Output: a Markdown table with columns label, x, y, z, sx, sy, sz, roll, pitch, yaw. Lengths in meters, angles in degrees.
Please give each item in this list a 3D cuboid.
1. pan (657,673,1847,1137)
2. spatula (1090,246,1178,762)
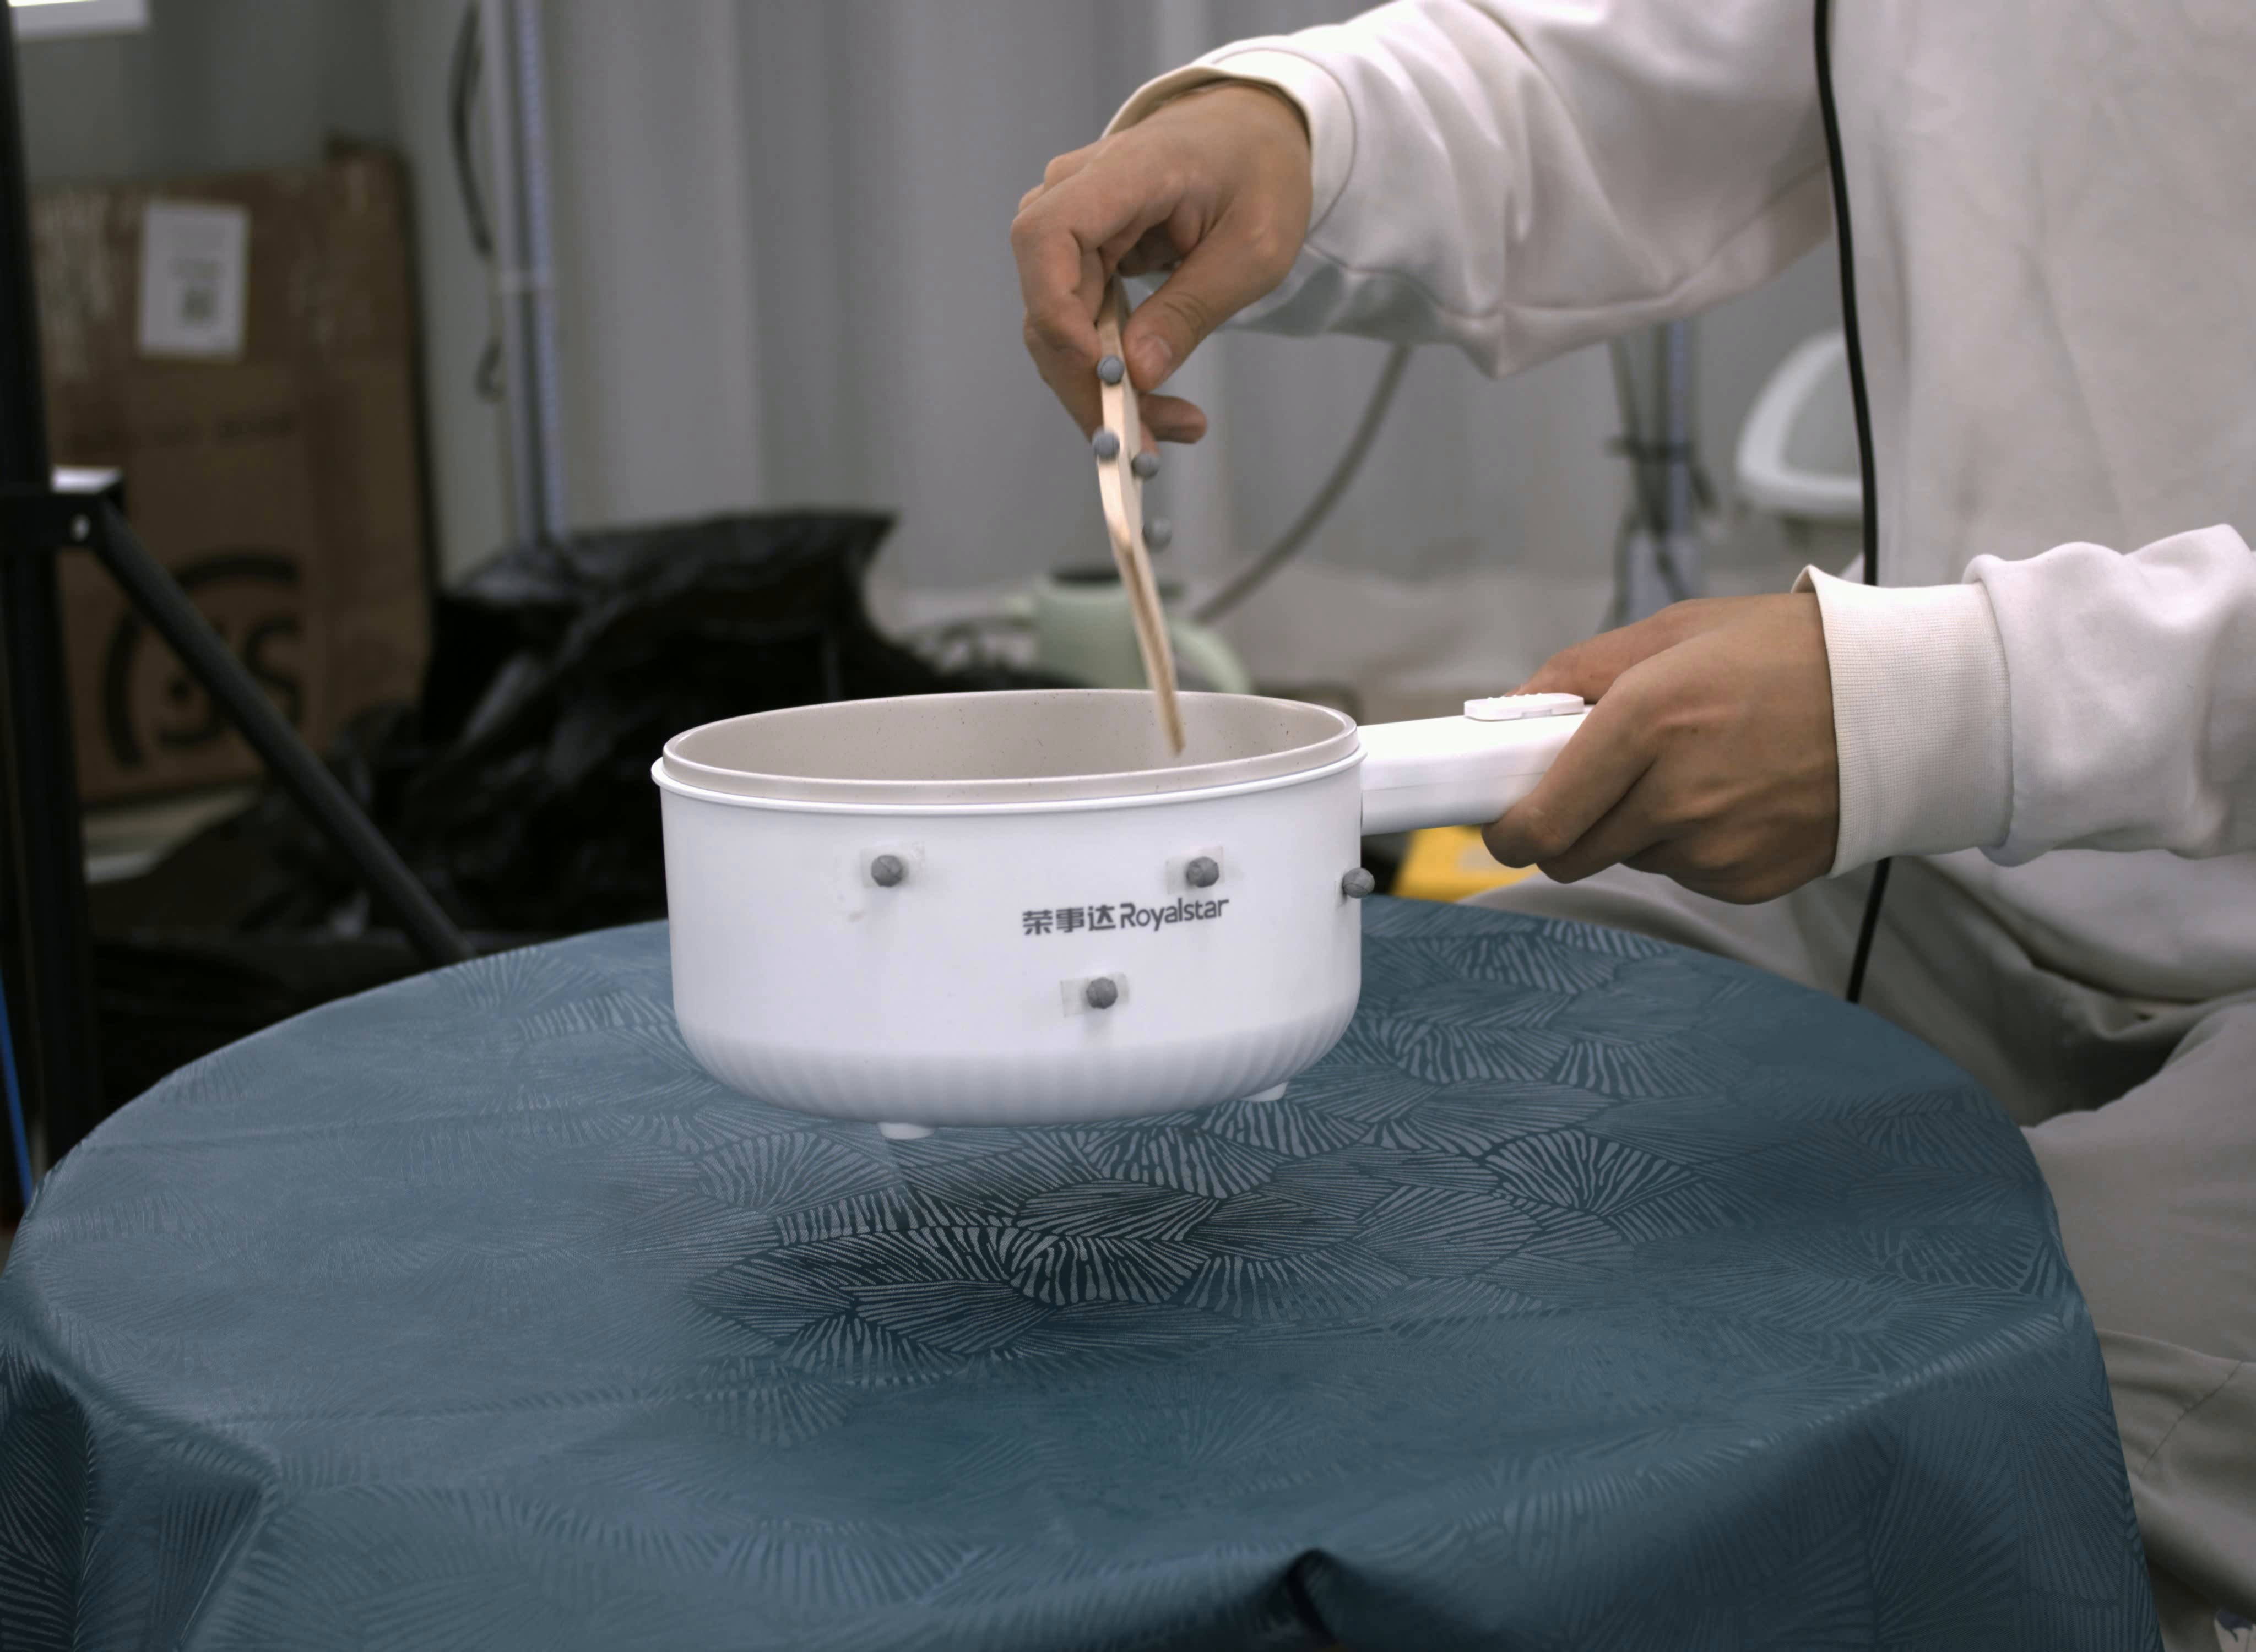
| label | x | y | z | sx | sy | sz | roll | pitch | yaw |
| --- | --- | --- | --- | --- | --- | --- | --- | --- | --- |
| pan | 0.040 | 0.017 | 1.521 | 0.348 | 0.102 | 0.204 | -5 | 9 | -19 |
| spatula | -0.002 | -0.112 | 1.607 | 0.010 | 0.071 | 0.295 | -13 | 27 | 4 |
